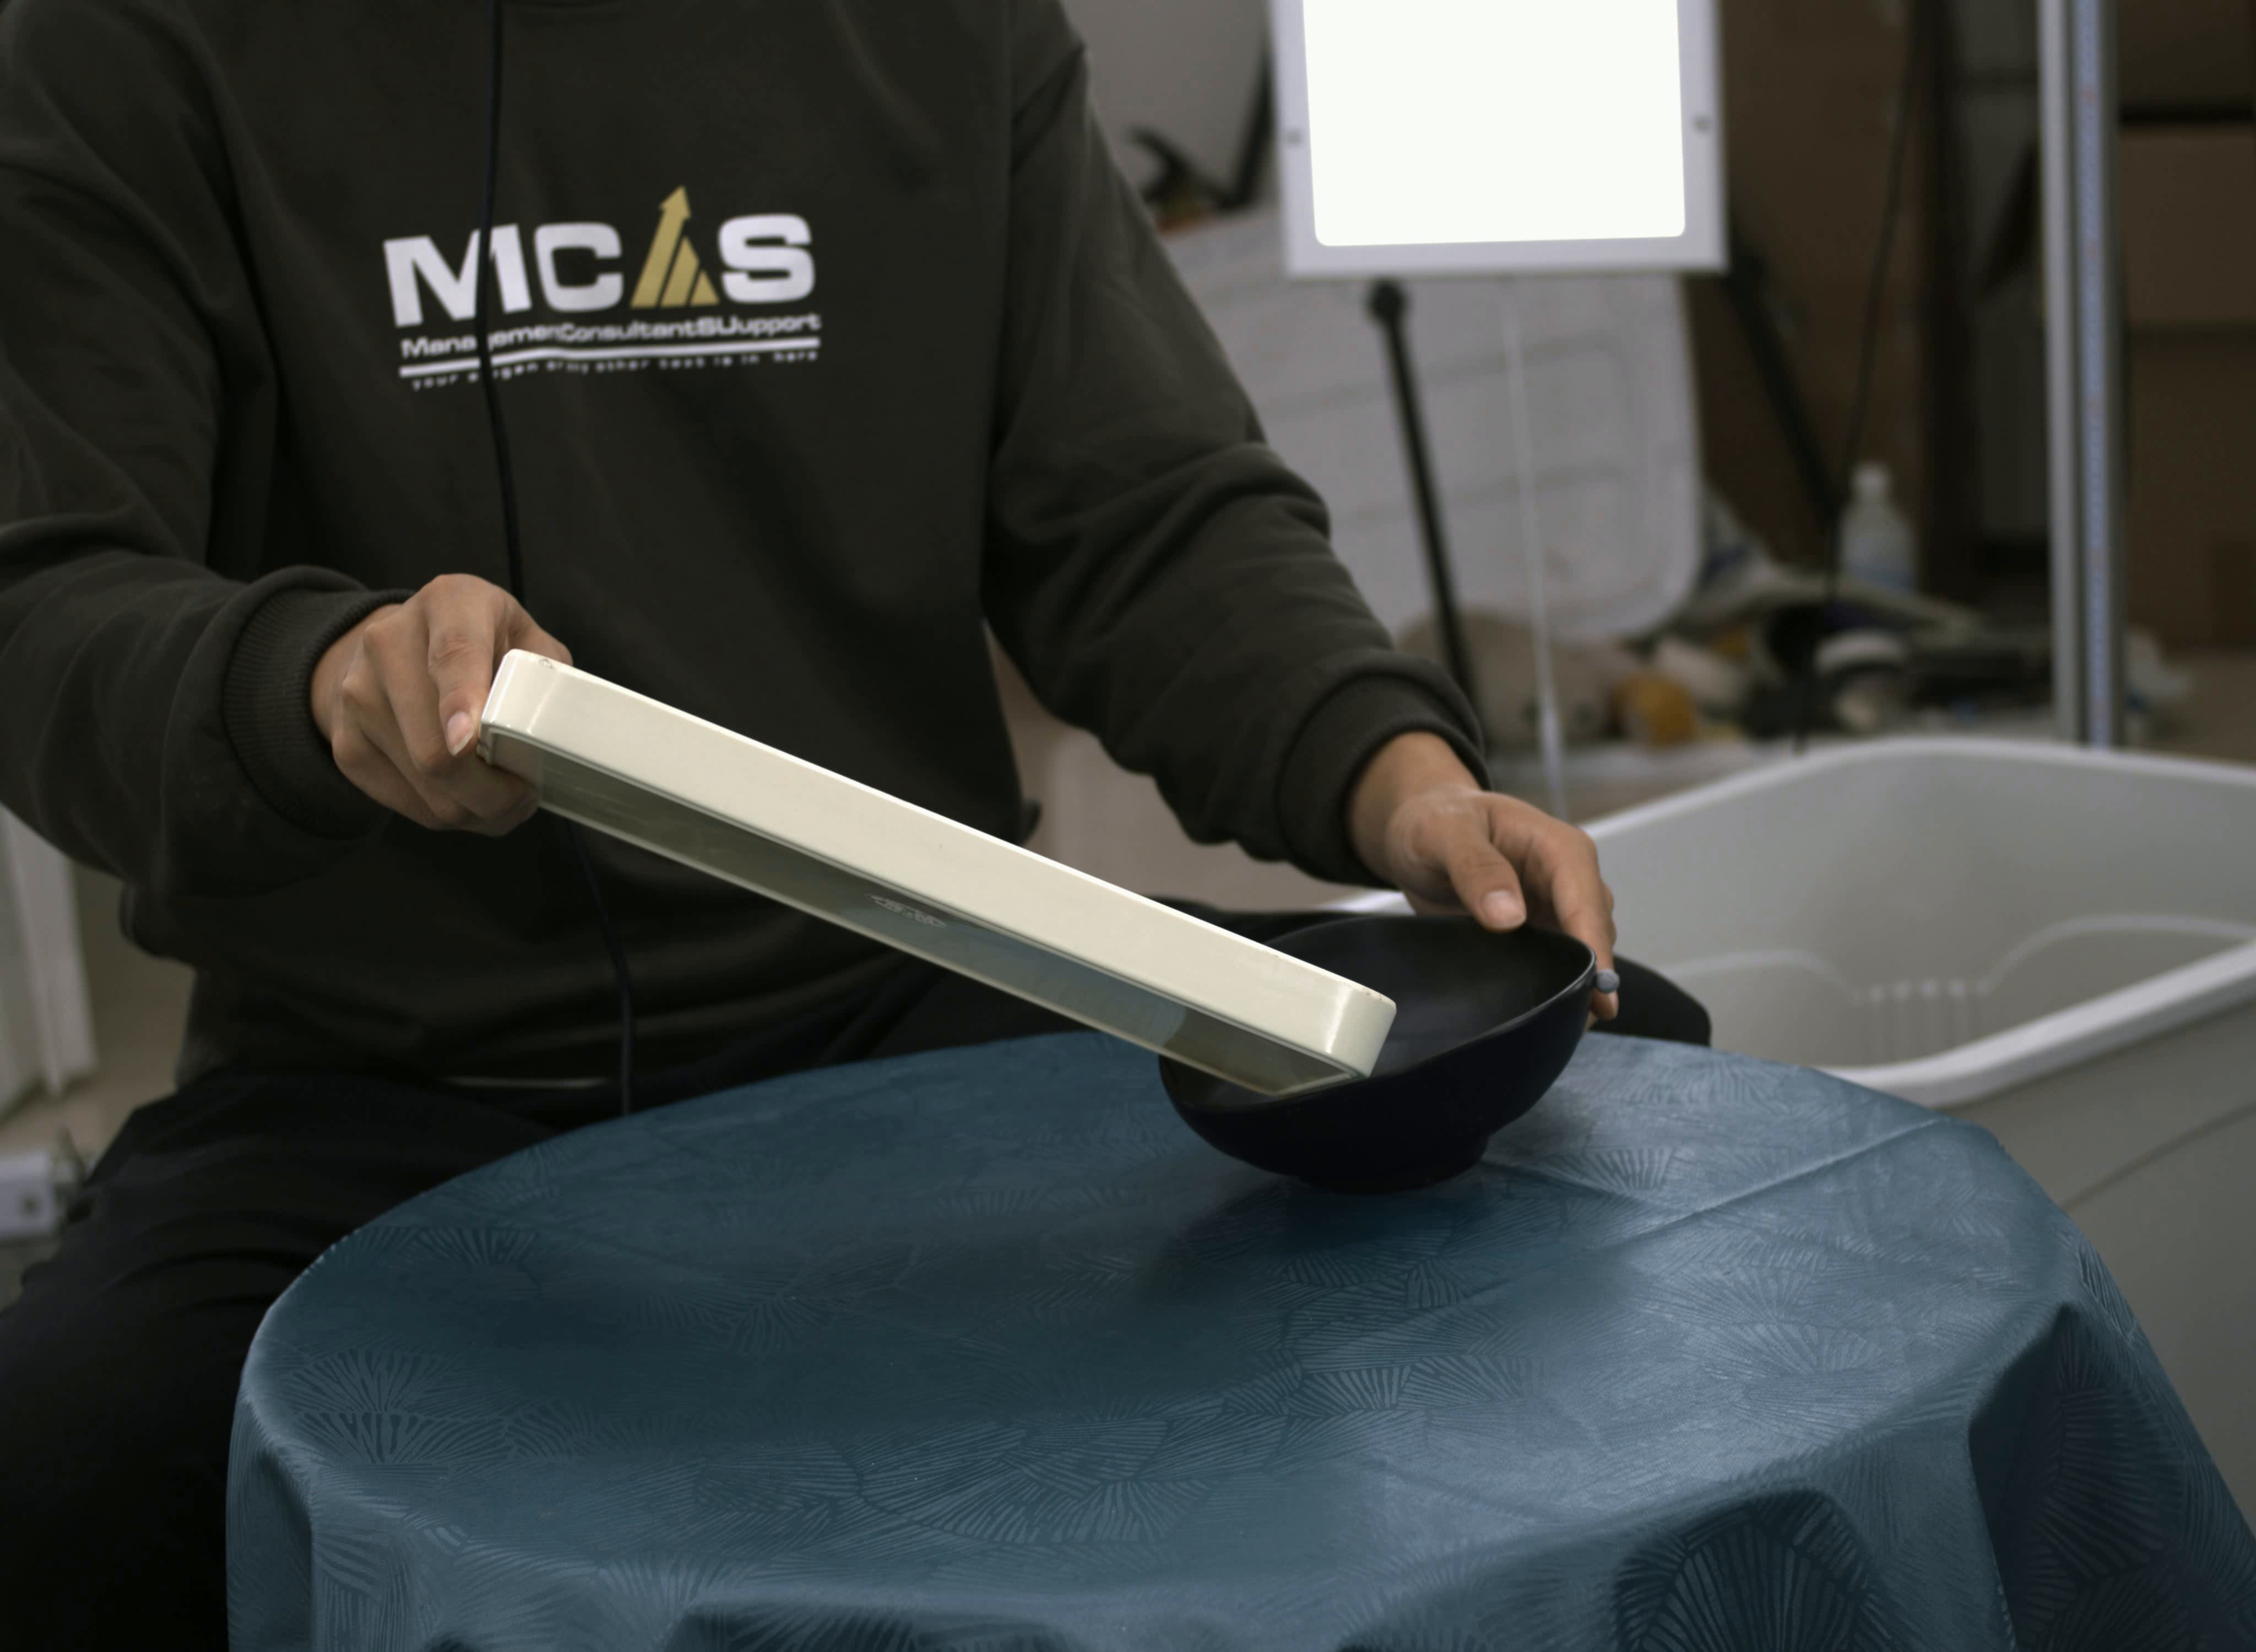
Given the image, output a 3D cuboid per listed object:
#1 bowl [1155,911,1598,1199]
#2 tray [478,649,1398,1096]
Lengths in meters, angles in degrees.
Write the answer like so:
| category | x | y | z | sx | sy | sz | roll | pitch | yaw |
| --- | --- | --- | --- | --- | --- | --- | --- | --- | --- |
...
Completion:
| category | x | y | z | sx | sy | sz | roll | pitch | yaw |
| --- | --- | --- | --- | --- | --- | --- | --- | --- | --- |
| bowl | 0.090 | 0.086 | 1.895 | 0.166 | 0.067 | 0.140 | -25 | 24 | -36 |
| tray | -0.067 | 0.019 | 1.783 | 0.299 | 0.027 | 0.192 | 22 | -7 | -3 |
